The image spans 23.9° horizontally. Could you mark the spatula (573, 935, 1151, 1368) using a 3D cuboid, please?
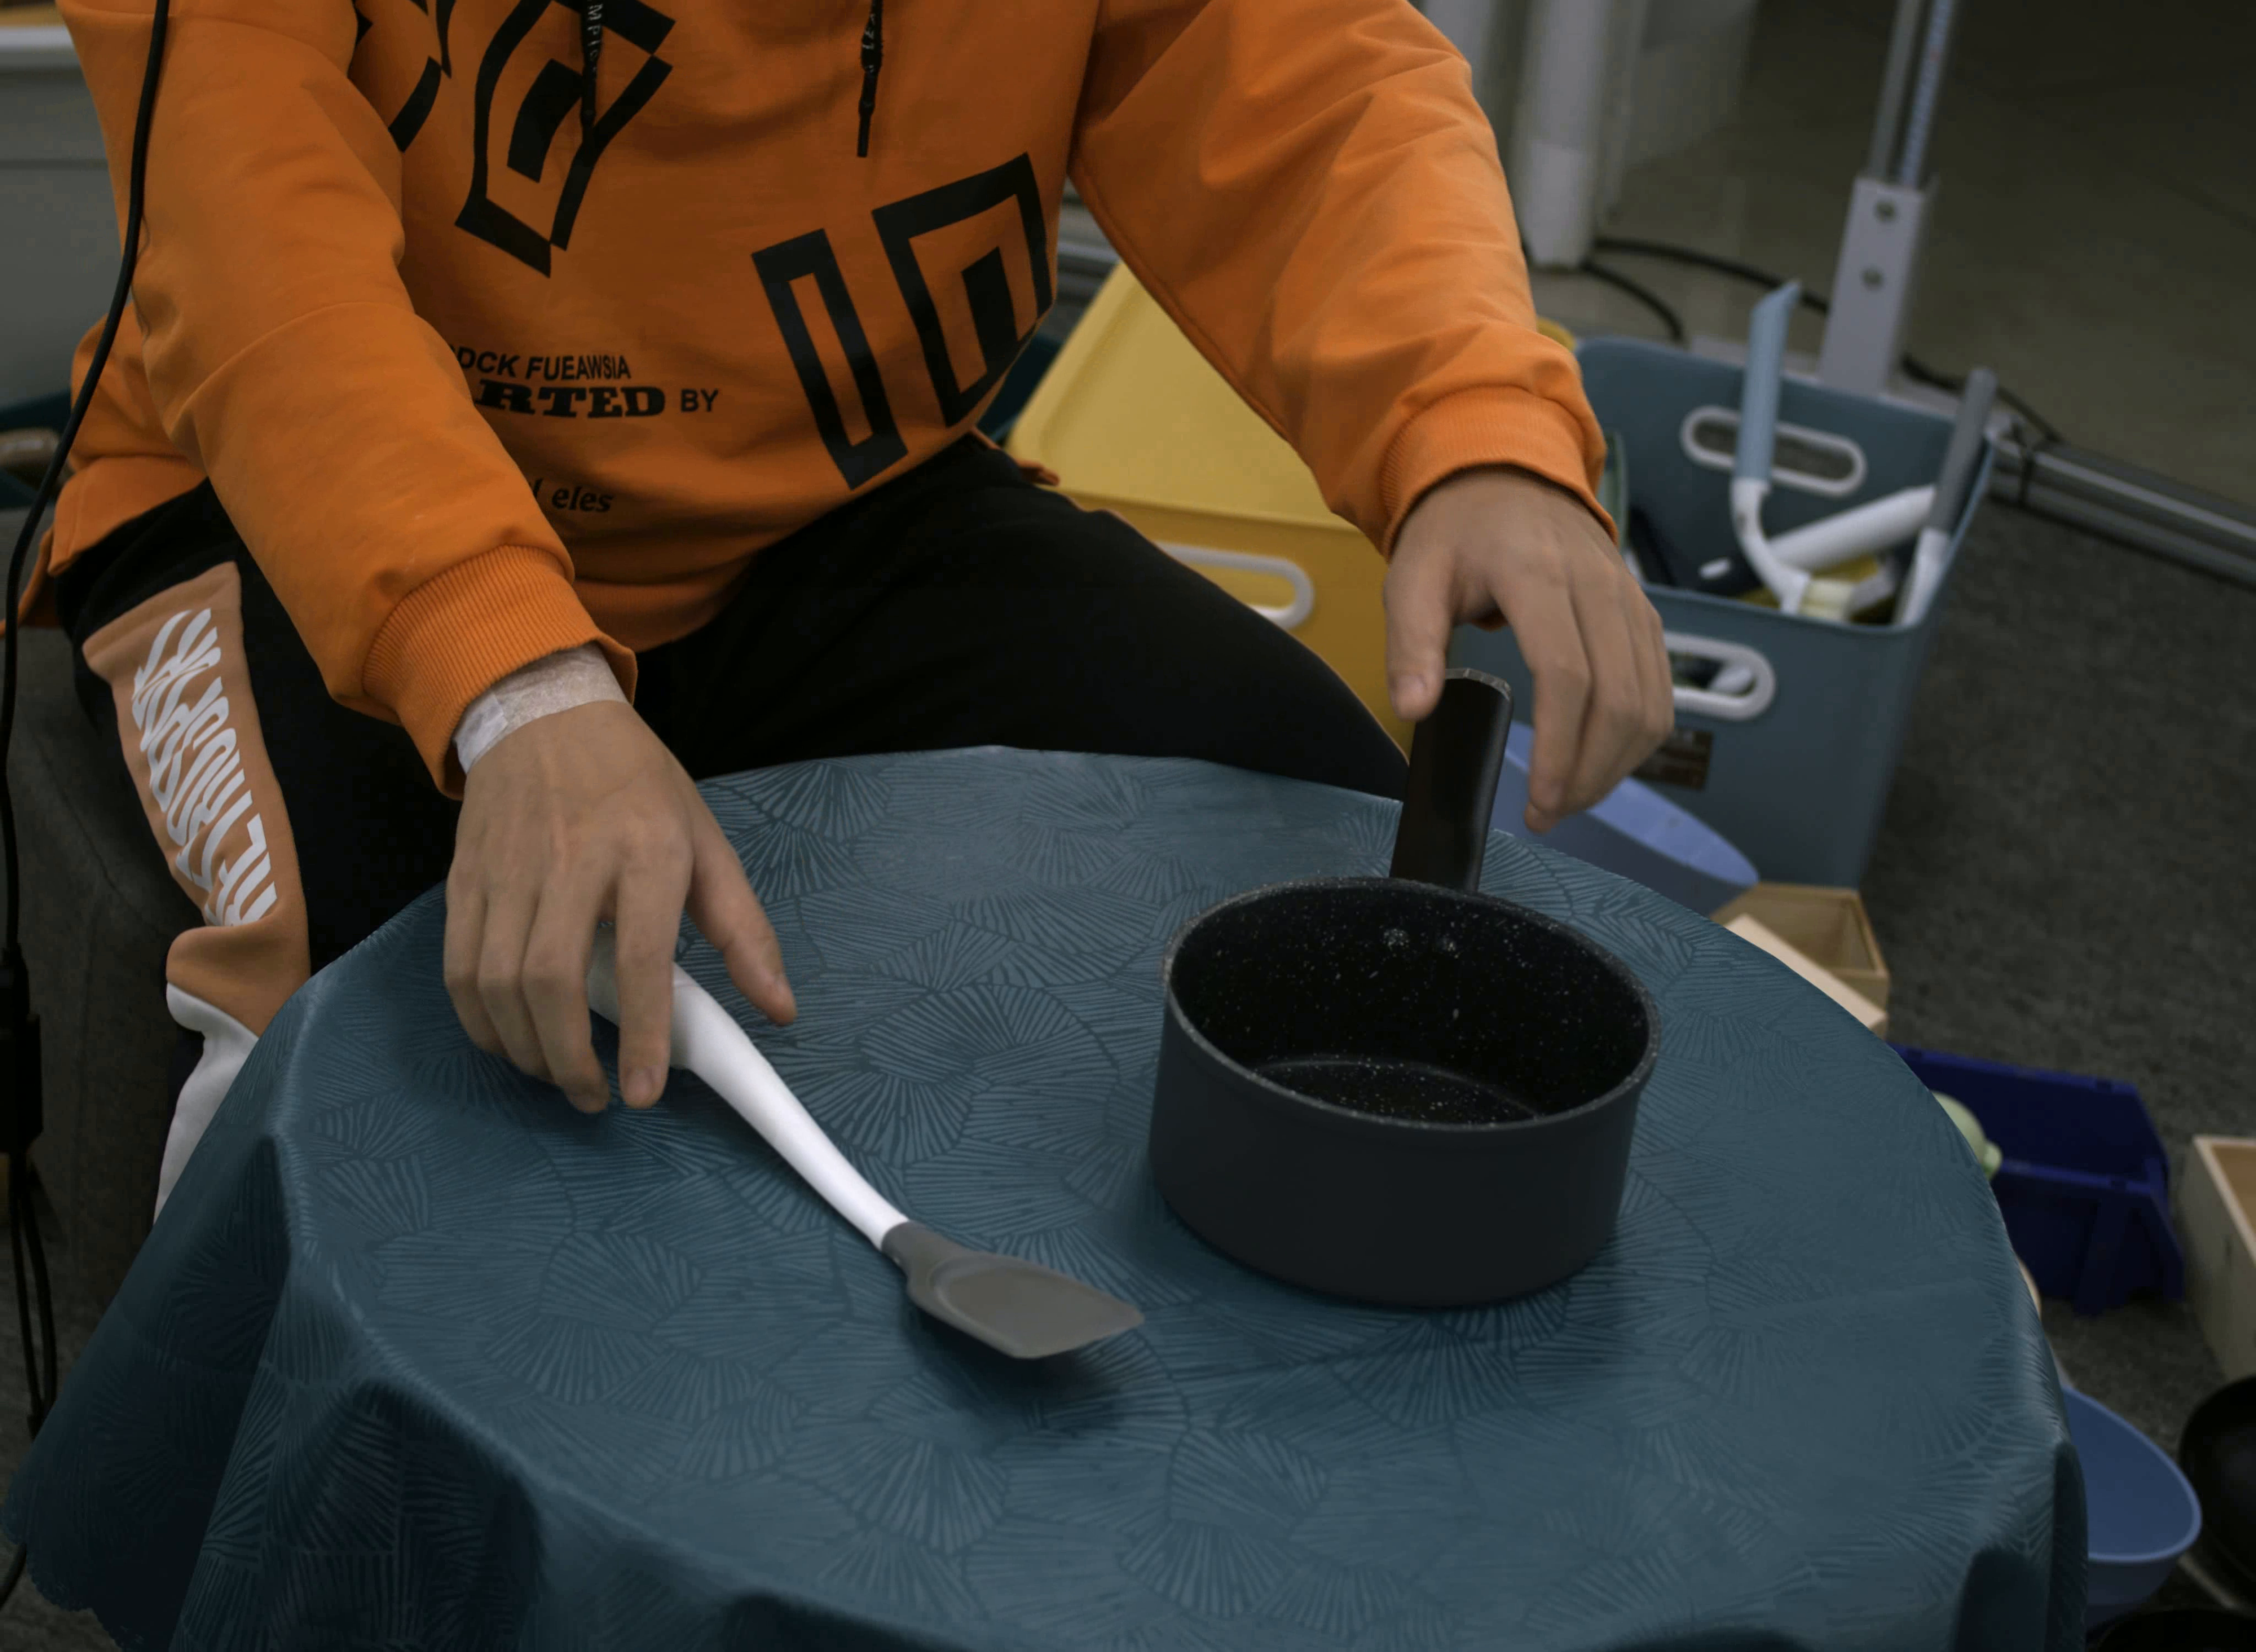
[{"bbox_3d":[-0.096,0.112,1.770,0.058,0.032,0.290,-10,31,-36],"label":"spatula"}]

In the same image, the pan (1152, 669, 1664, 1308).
[{"bbox_3d":[0.105,0.052,1.873,0.172,0.086,0.330,11,29,6],"label":"pan"}]
